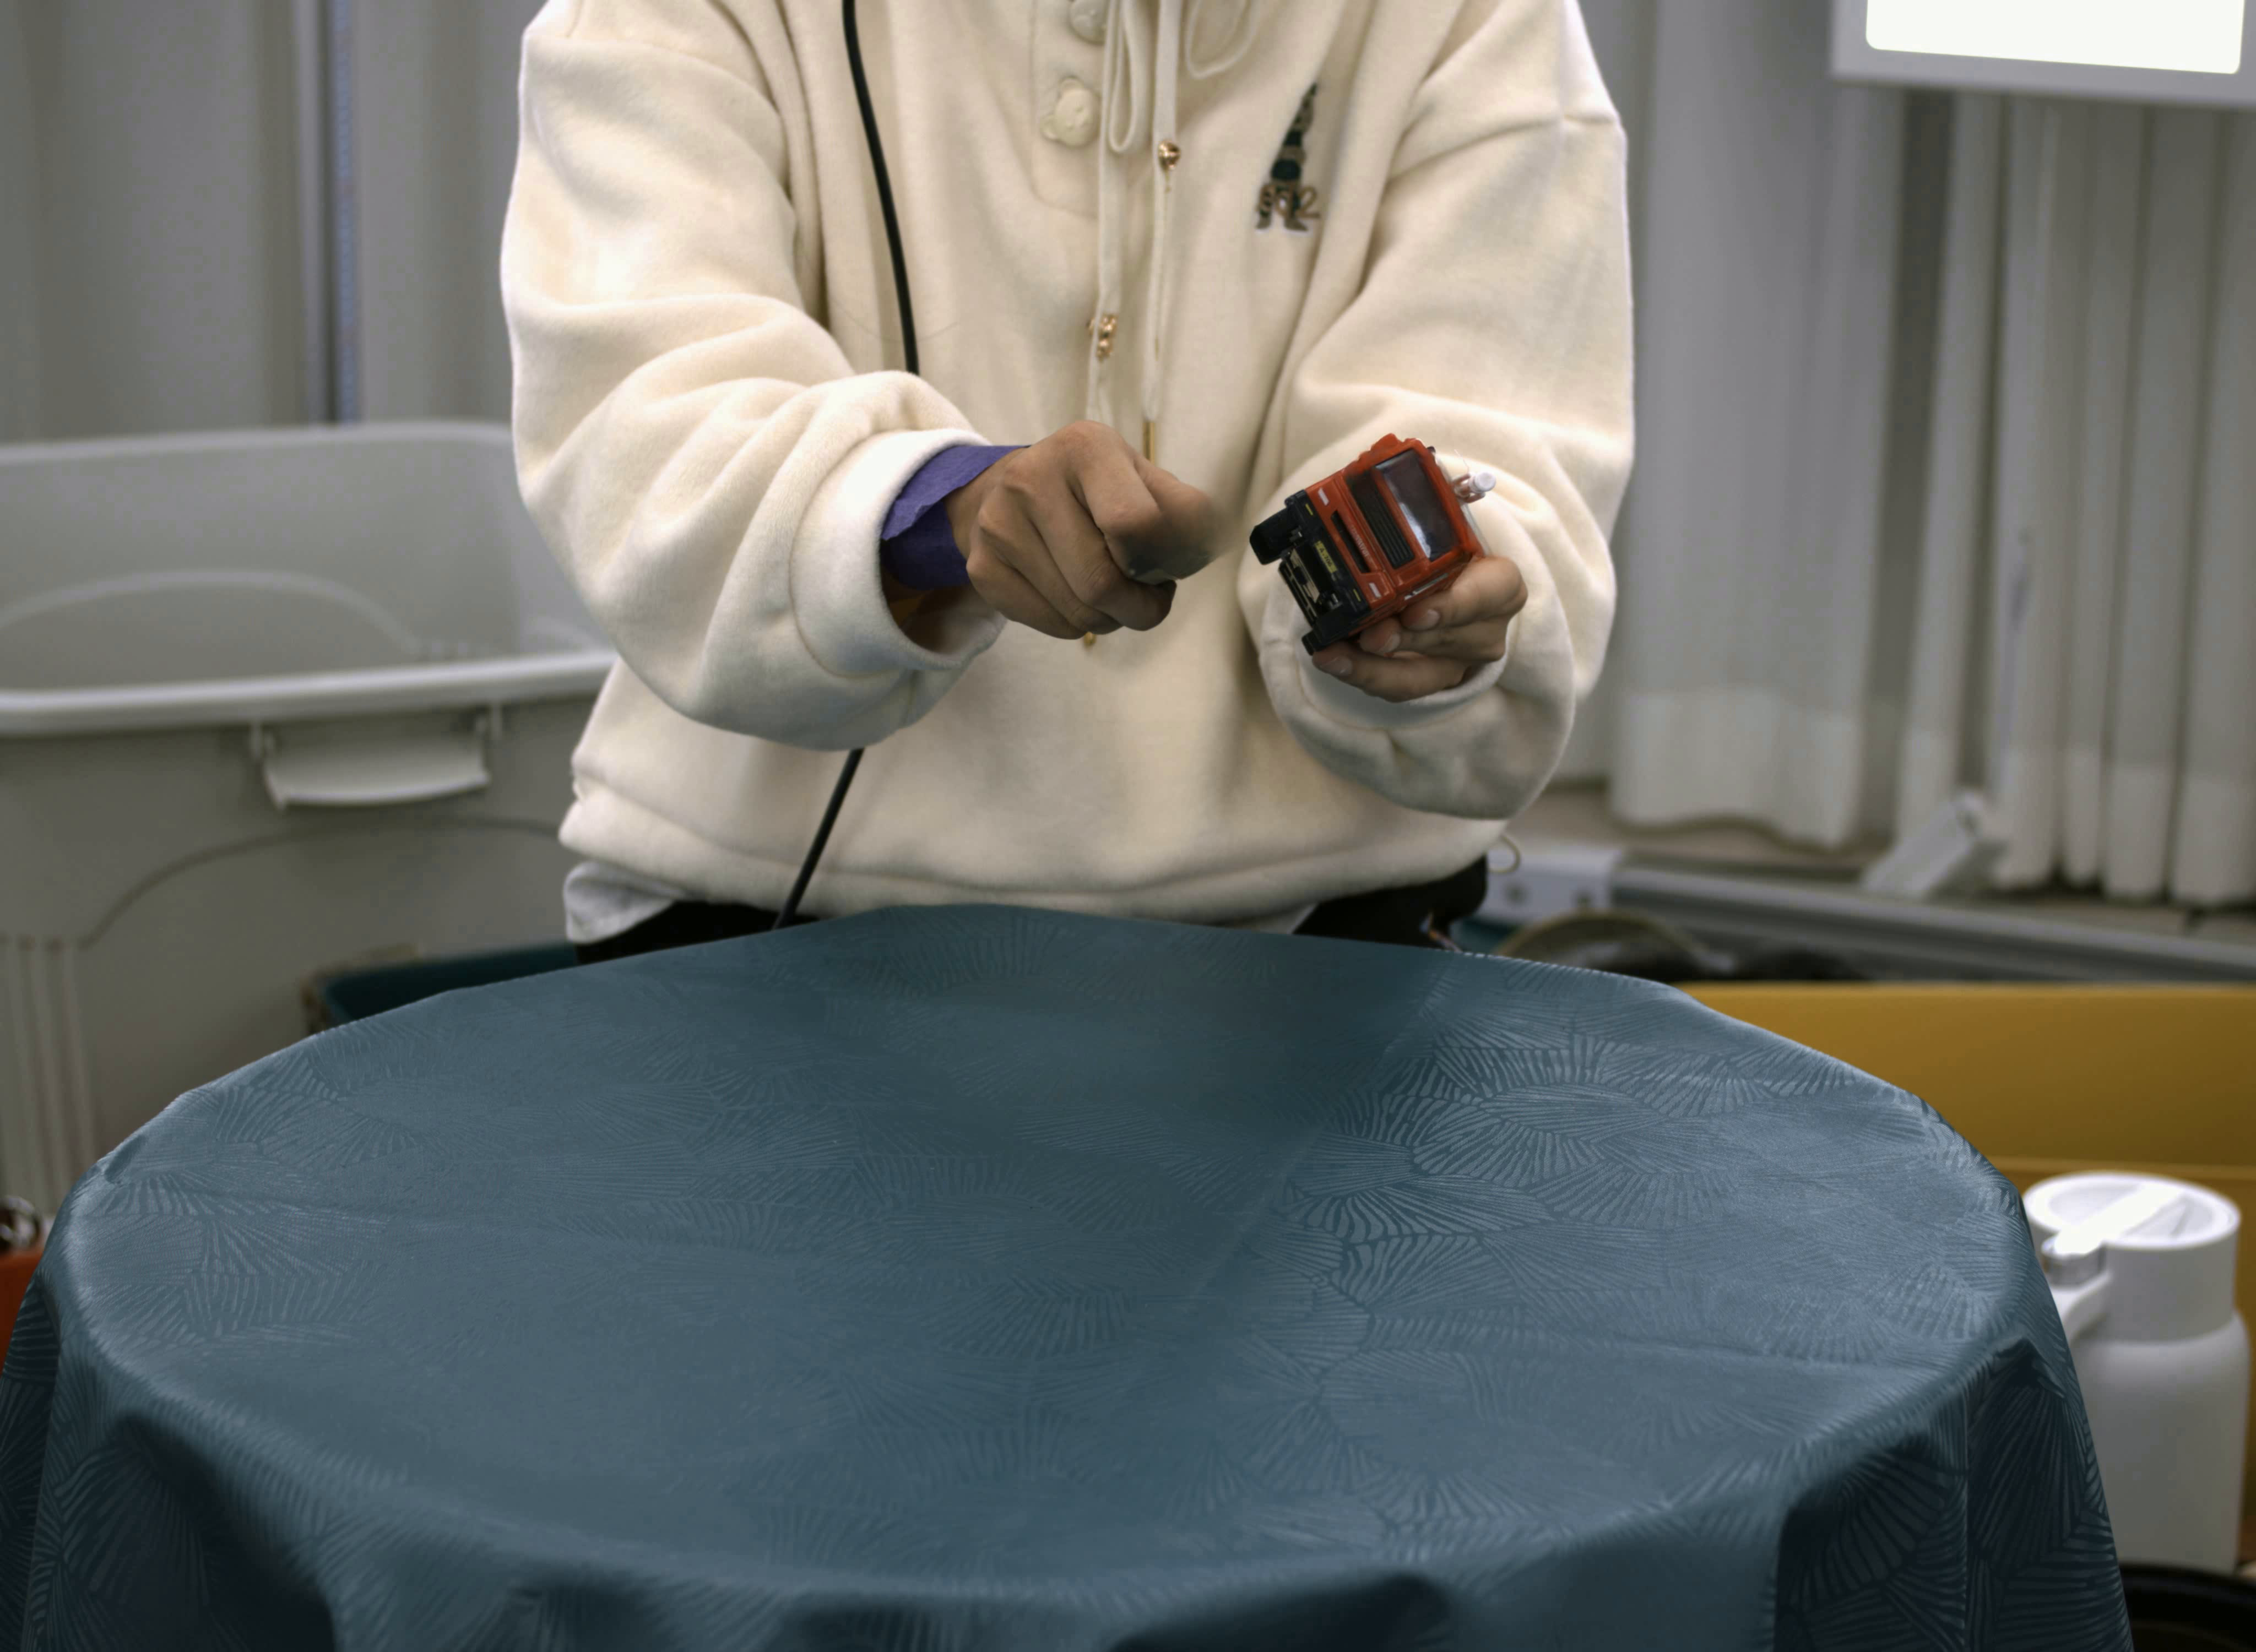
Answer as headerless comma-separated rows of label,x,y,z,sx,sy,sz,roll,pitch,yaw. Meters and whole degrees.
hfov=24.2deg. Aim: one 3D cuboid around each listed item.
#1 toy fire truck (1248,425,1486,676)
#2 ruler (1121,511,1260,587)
toy fire truck,0.077,-0.087,1.672,0.070,0.054,0.168,-30,-2,-2
ruler,0.021,-0.089,1.606,0.039,0.017,0.312,-22,1,3
